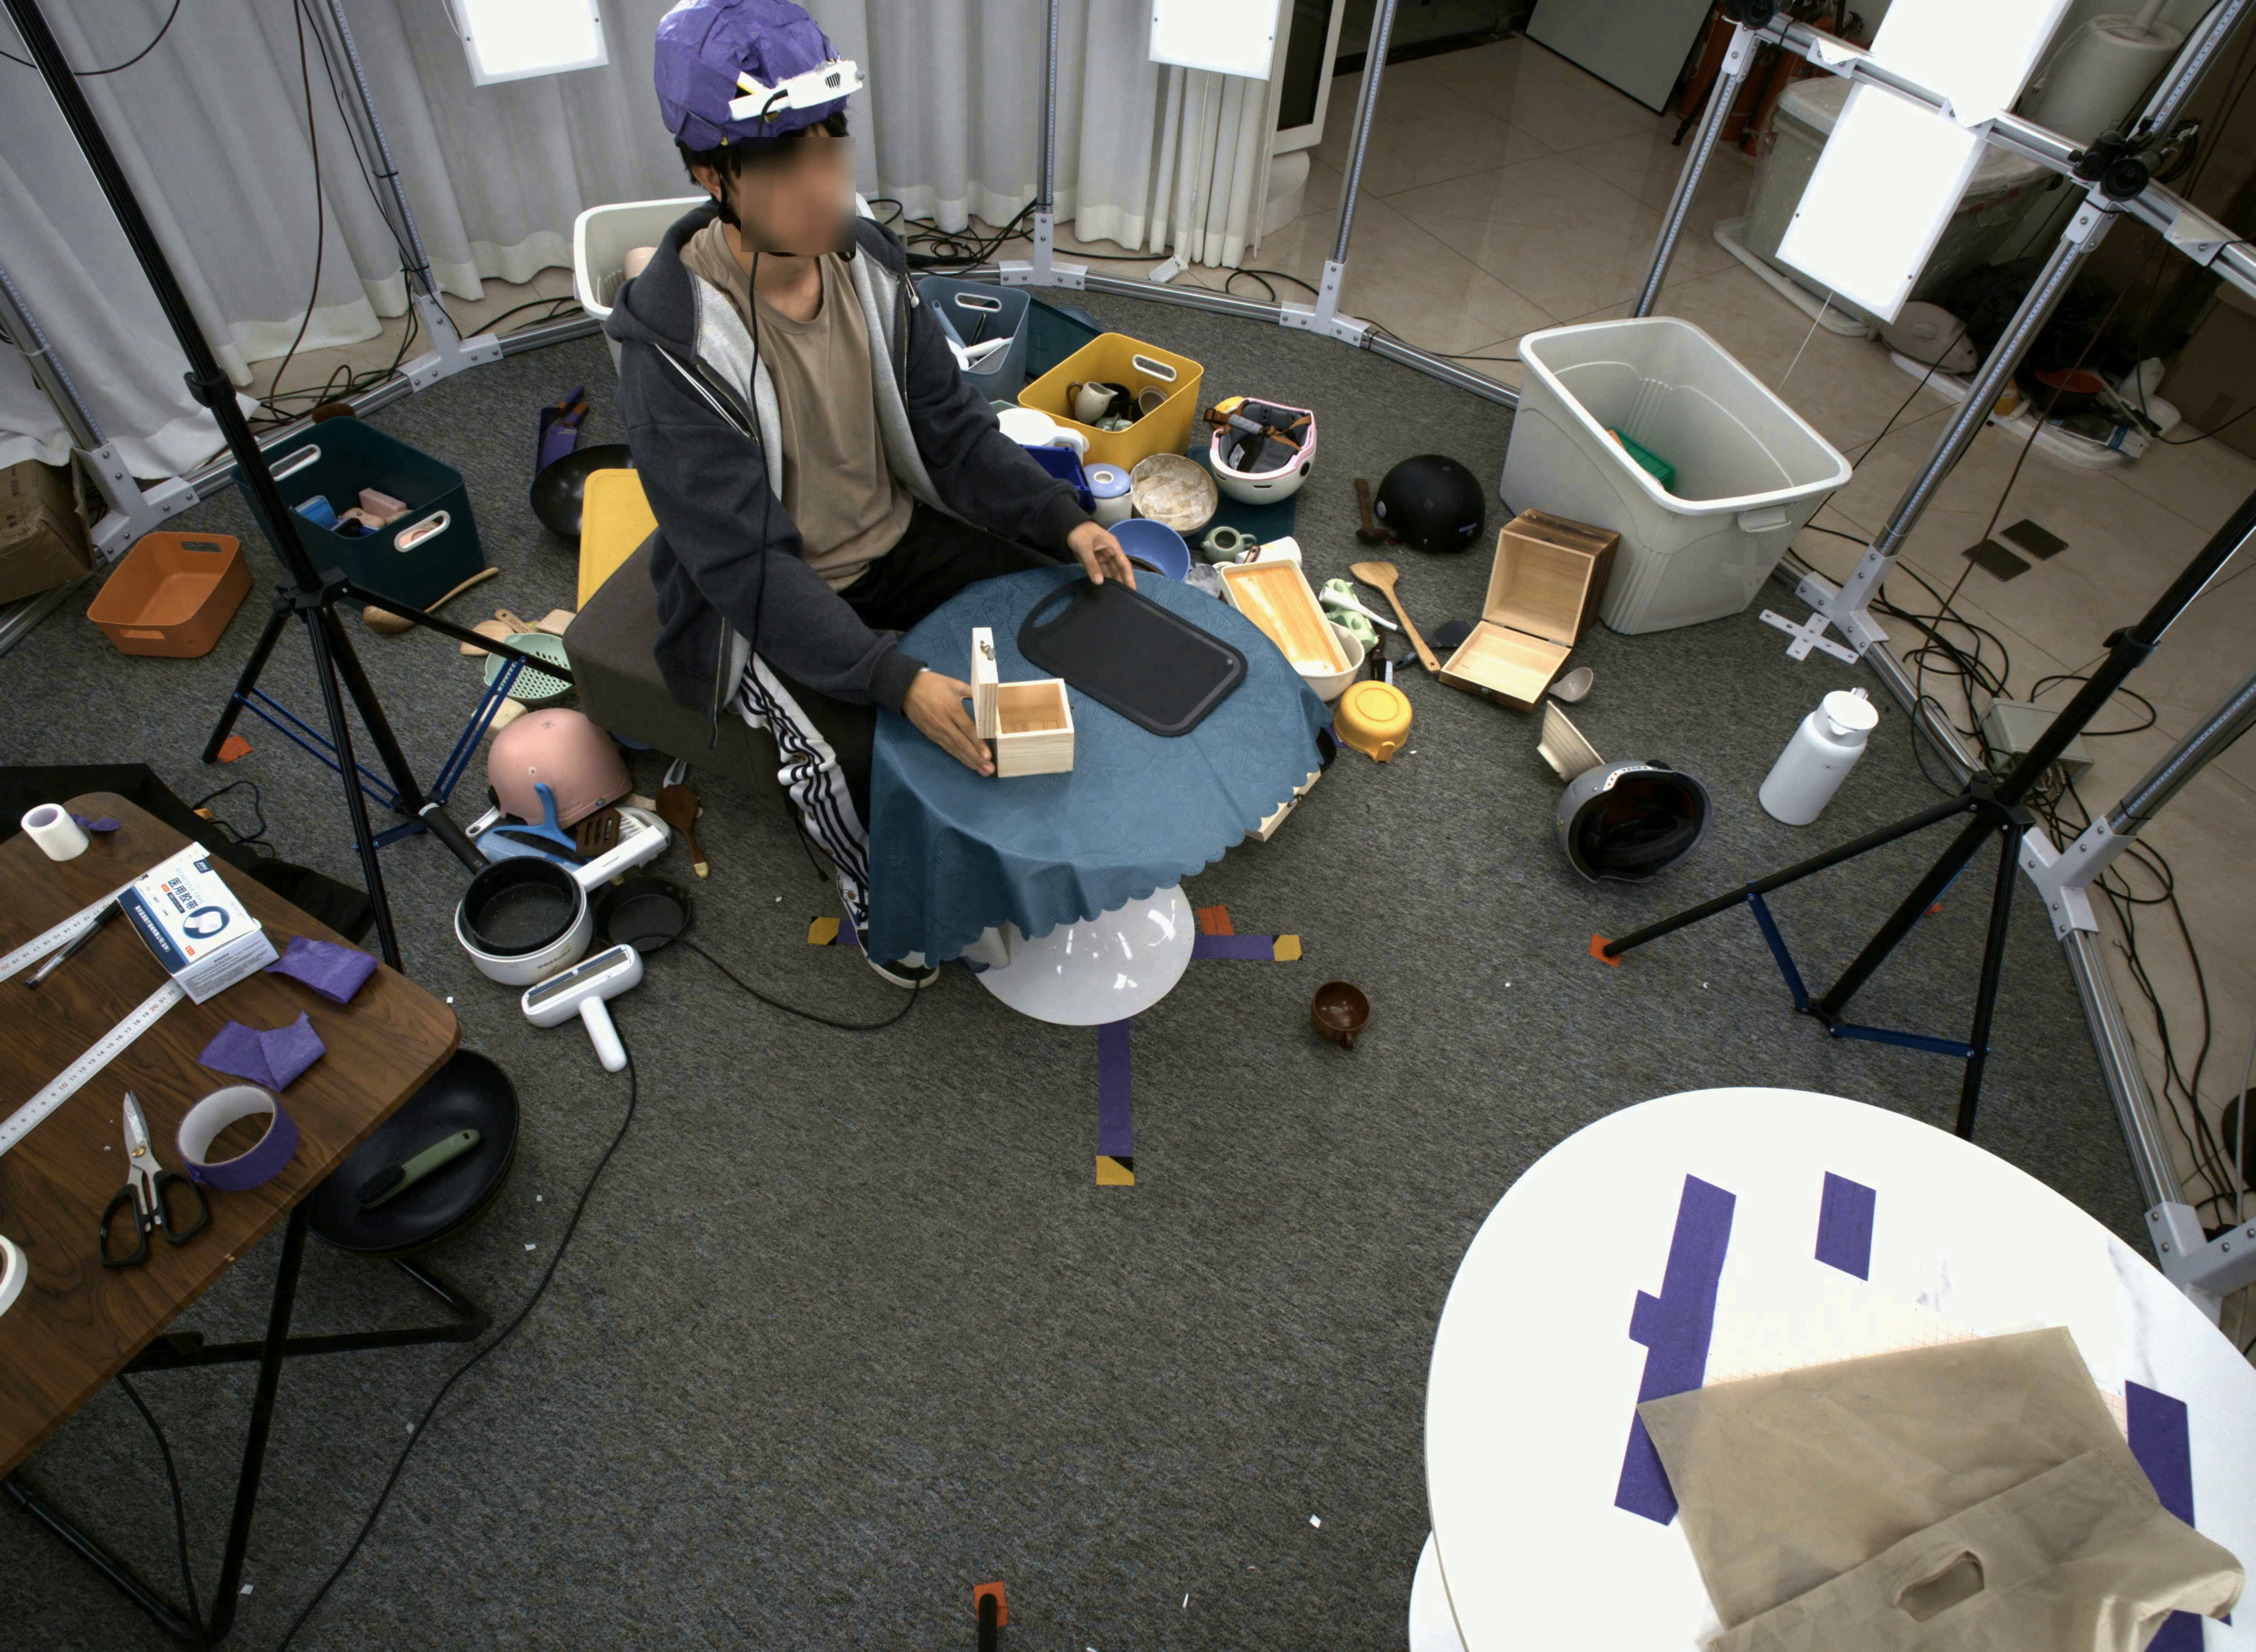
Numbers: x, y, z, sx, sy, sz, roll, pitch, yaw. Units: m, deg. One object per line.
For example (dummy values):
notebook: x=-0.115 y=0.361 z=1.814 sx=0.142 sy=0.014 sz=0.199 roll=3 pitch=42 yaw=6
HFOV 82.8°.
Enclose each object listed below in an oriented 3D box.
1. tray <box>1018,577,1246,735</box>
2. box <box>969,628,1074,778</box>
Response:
tray: x=-0.001 y=-0.258 z=1.878 sx=0.329 sy=0.009 sz=0.214 roll=32 pitch=58 yaw=21
box: x=-0.137 y=-0.164 z=1.681 sx=0.134 sy=0.180 sz=0.105 roll=-7 pitch=50 yaw=-8
